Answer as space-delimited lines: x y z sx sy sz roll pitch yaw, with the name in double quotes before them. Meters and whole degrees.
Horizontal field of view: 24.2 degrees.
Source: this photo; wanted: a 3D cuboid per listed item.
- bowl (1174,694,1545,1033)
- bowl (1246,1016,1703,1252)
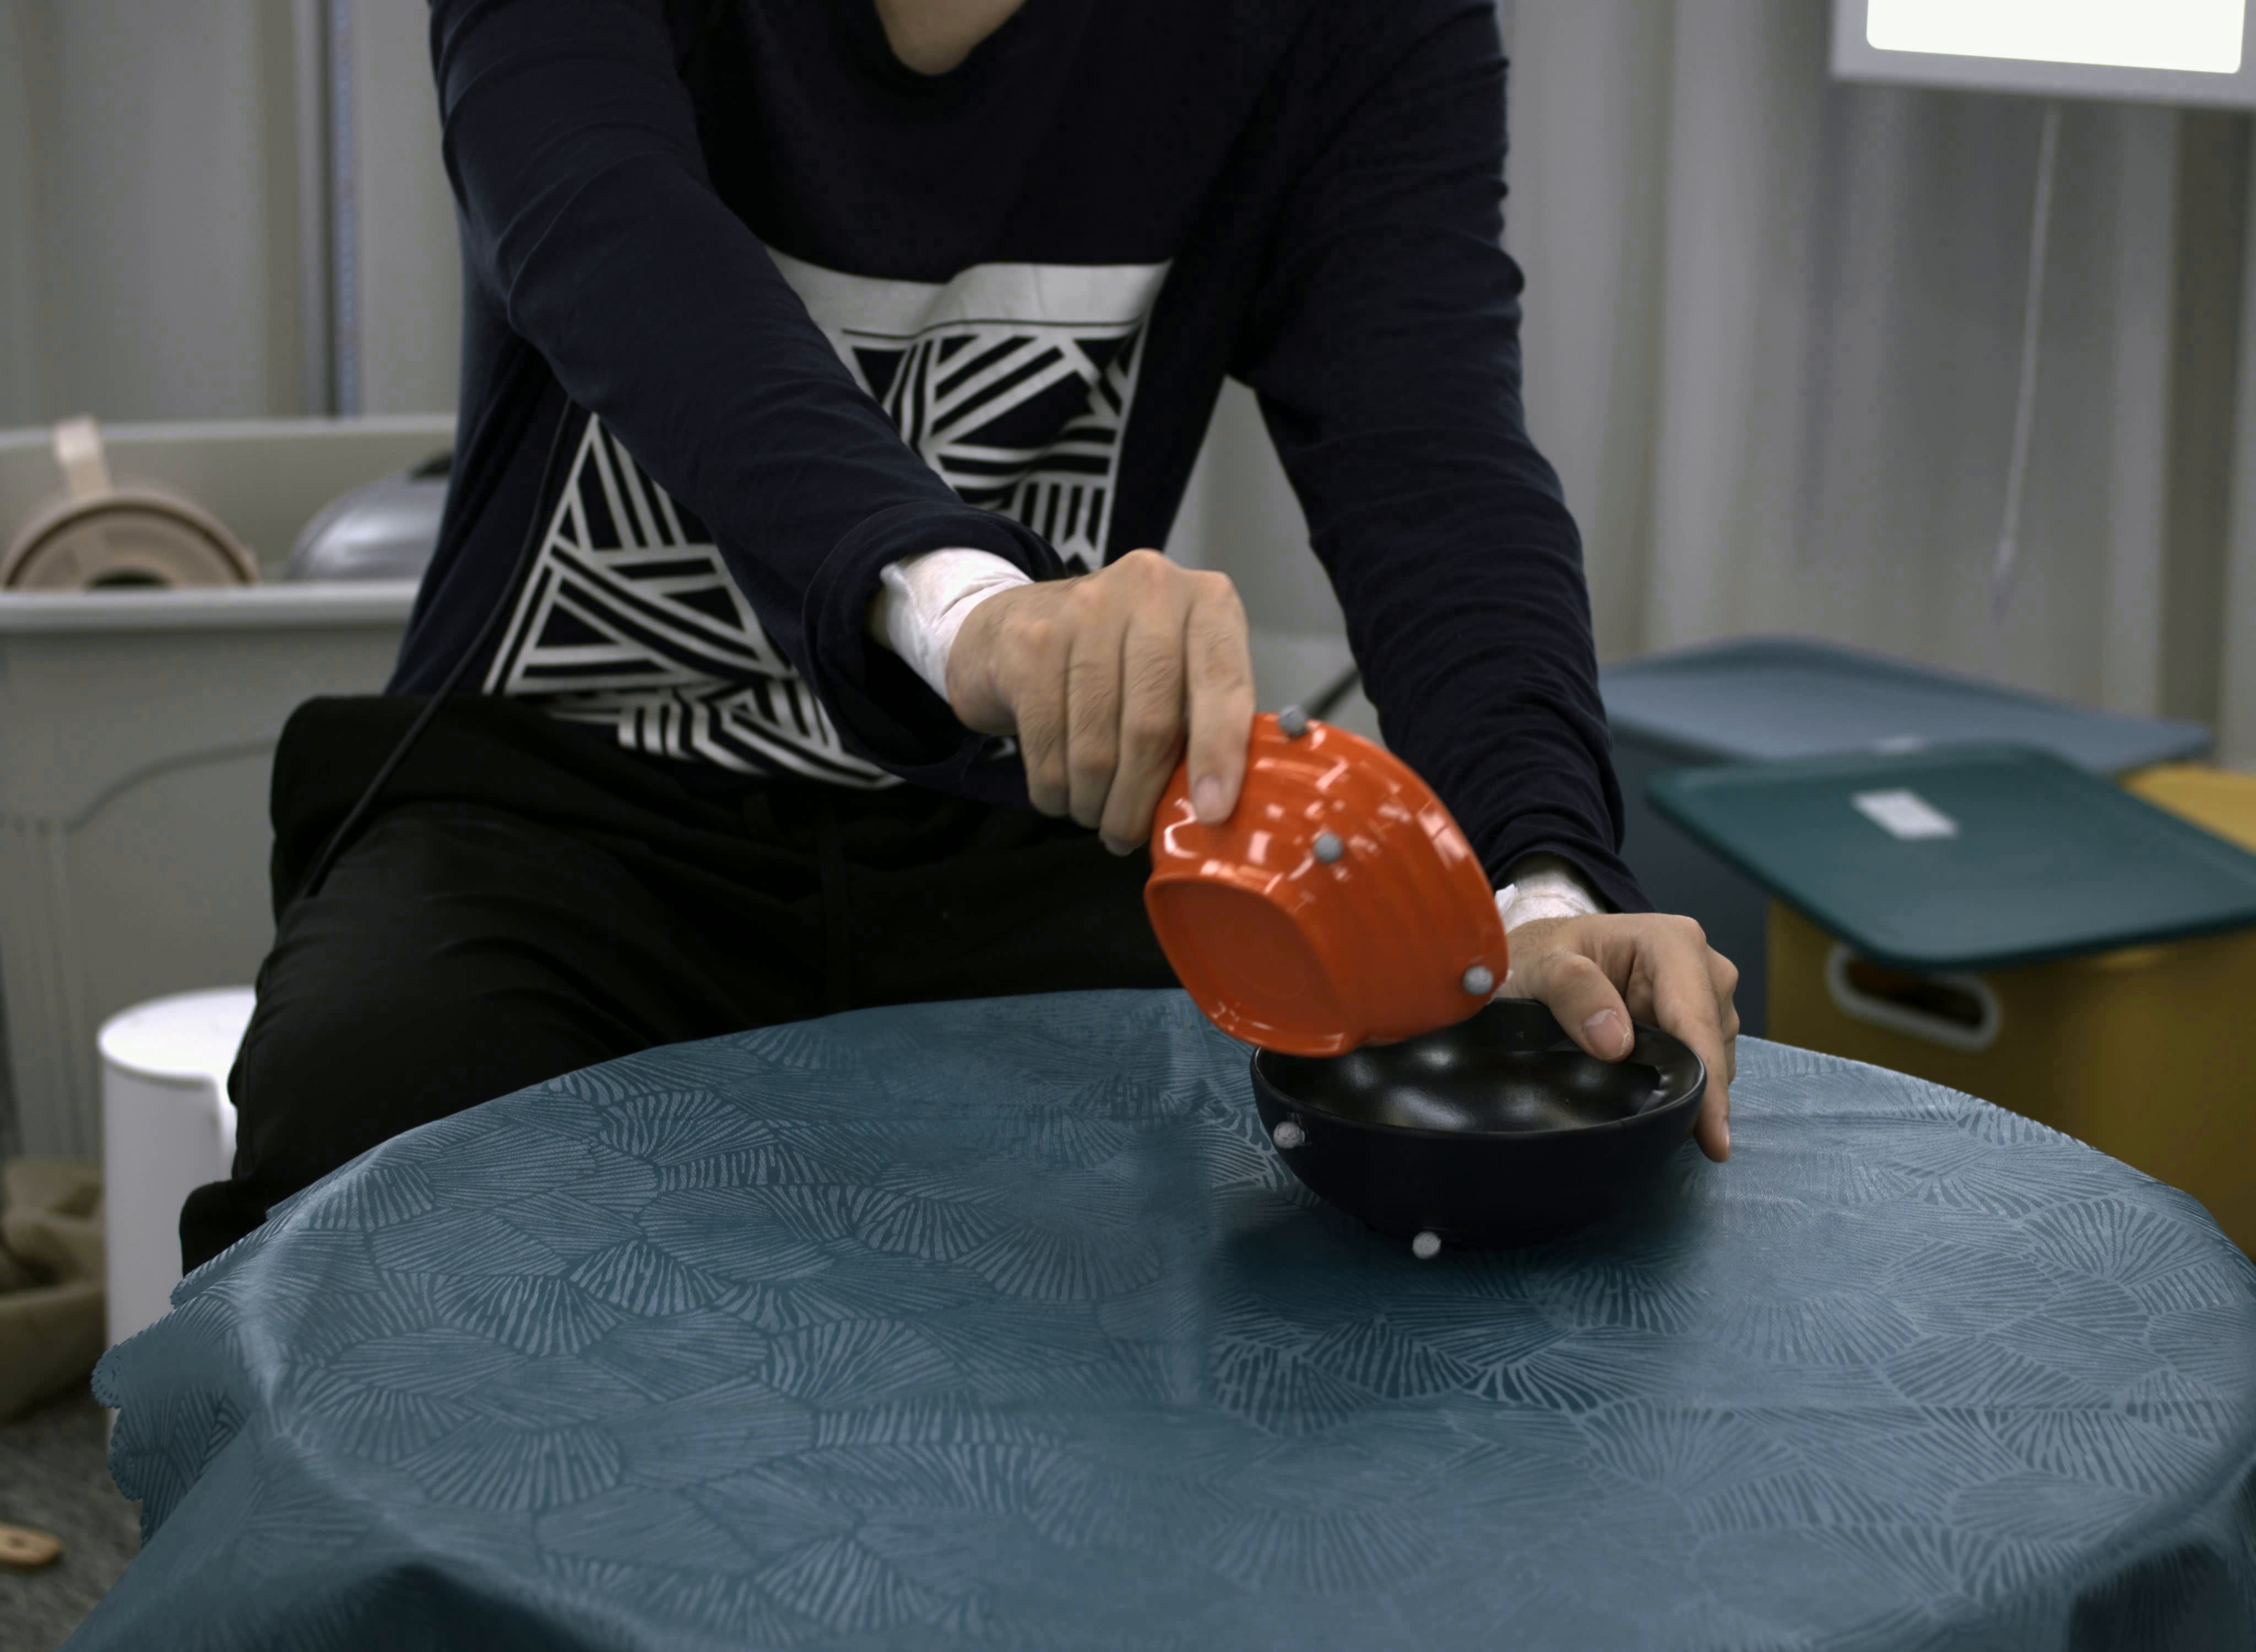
"bowl" 0.058 0.018 1.517 0.117 0.120 0.051 19 62 48
"bowl" 0.105 0.097 1.601 0.139 0.050 0.139 0 11 1
